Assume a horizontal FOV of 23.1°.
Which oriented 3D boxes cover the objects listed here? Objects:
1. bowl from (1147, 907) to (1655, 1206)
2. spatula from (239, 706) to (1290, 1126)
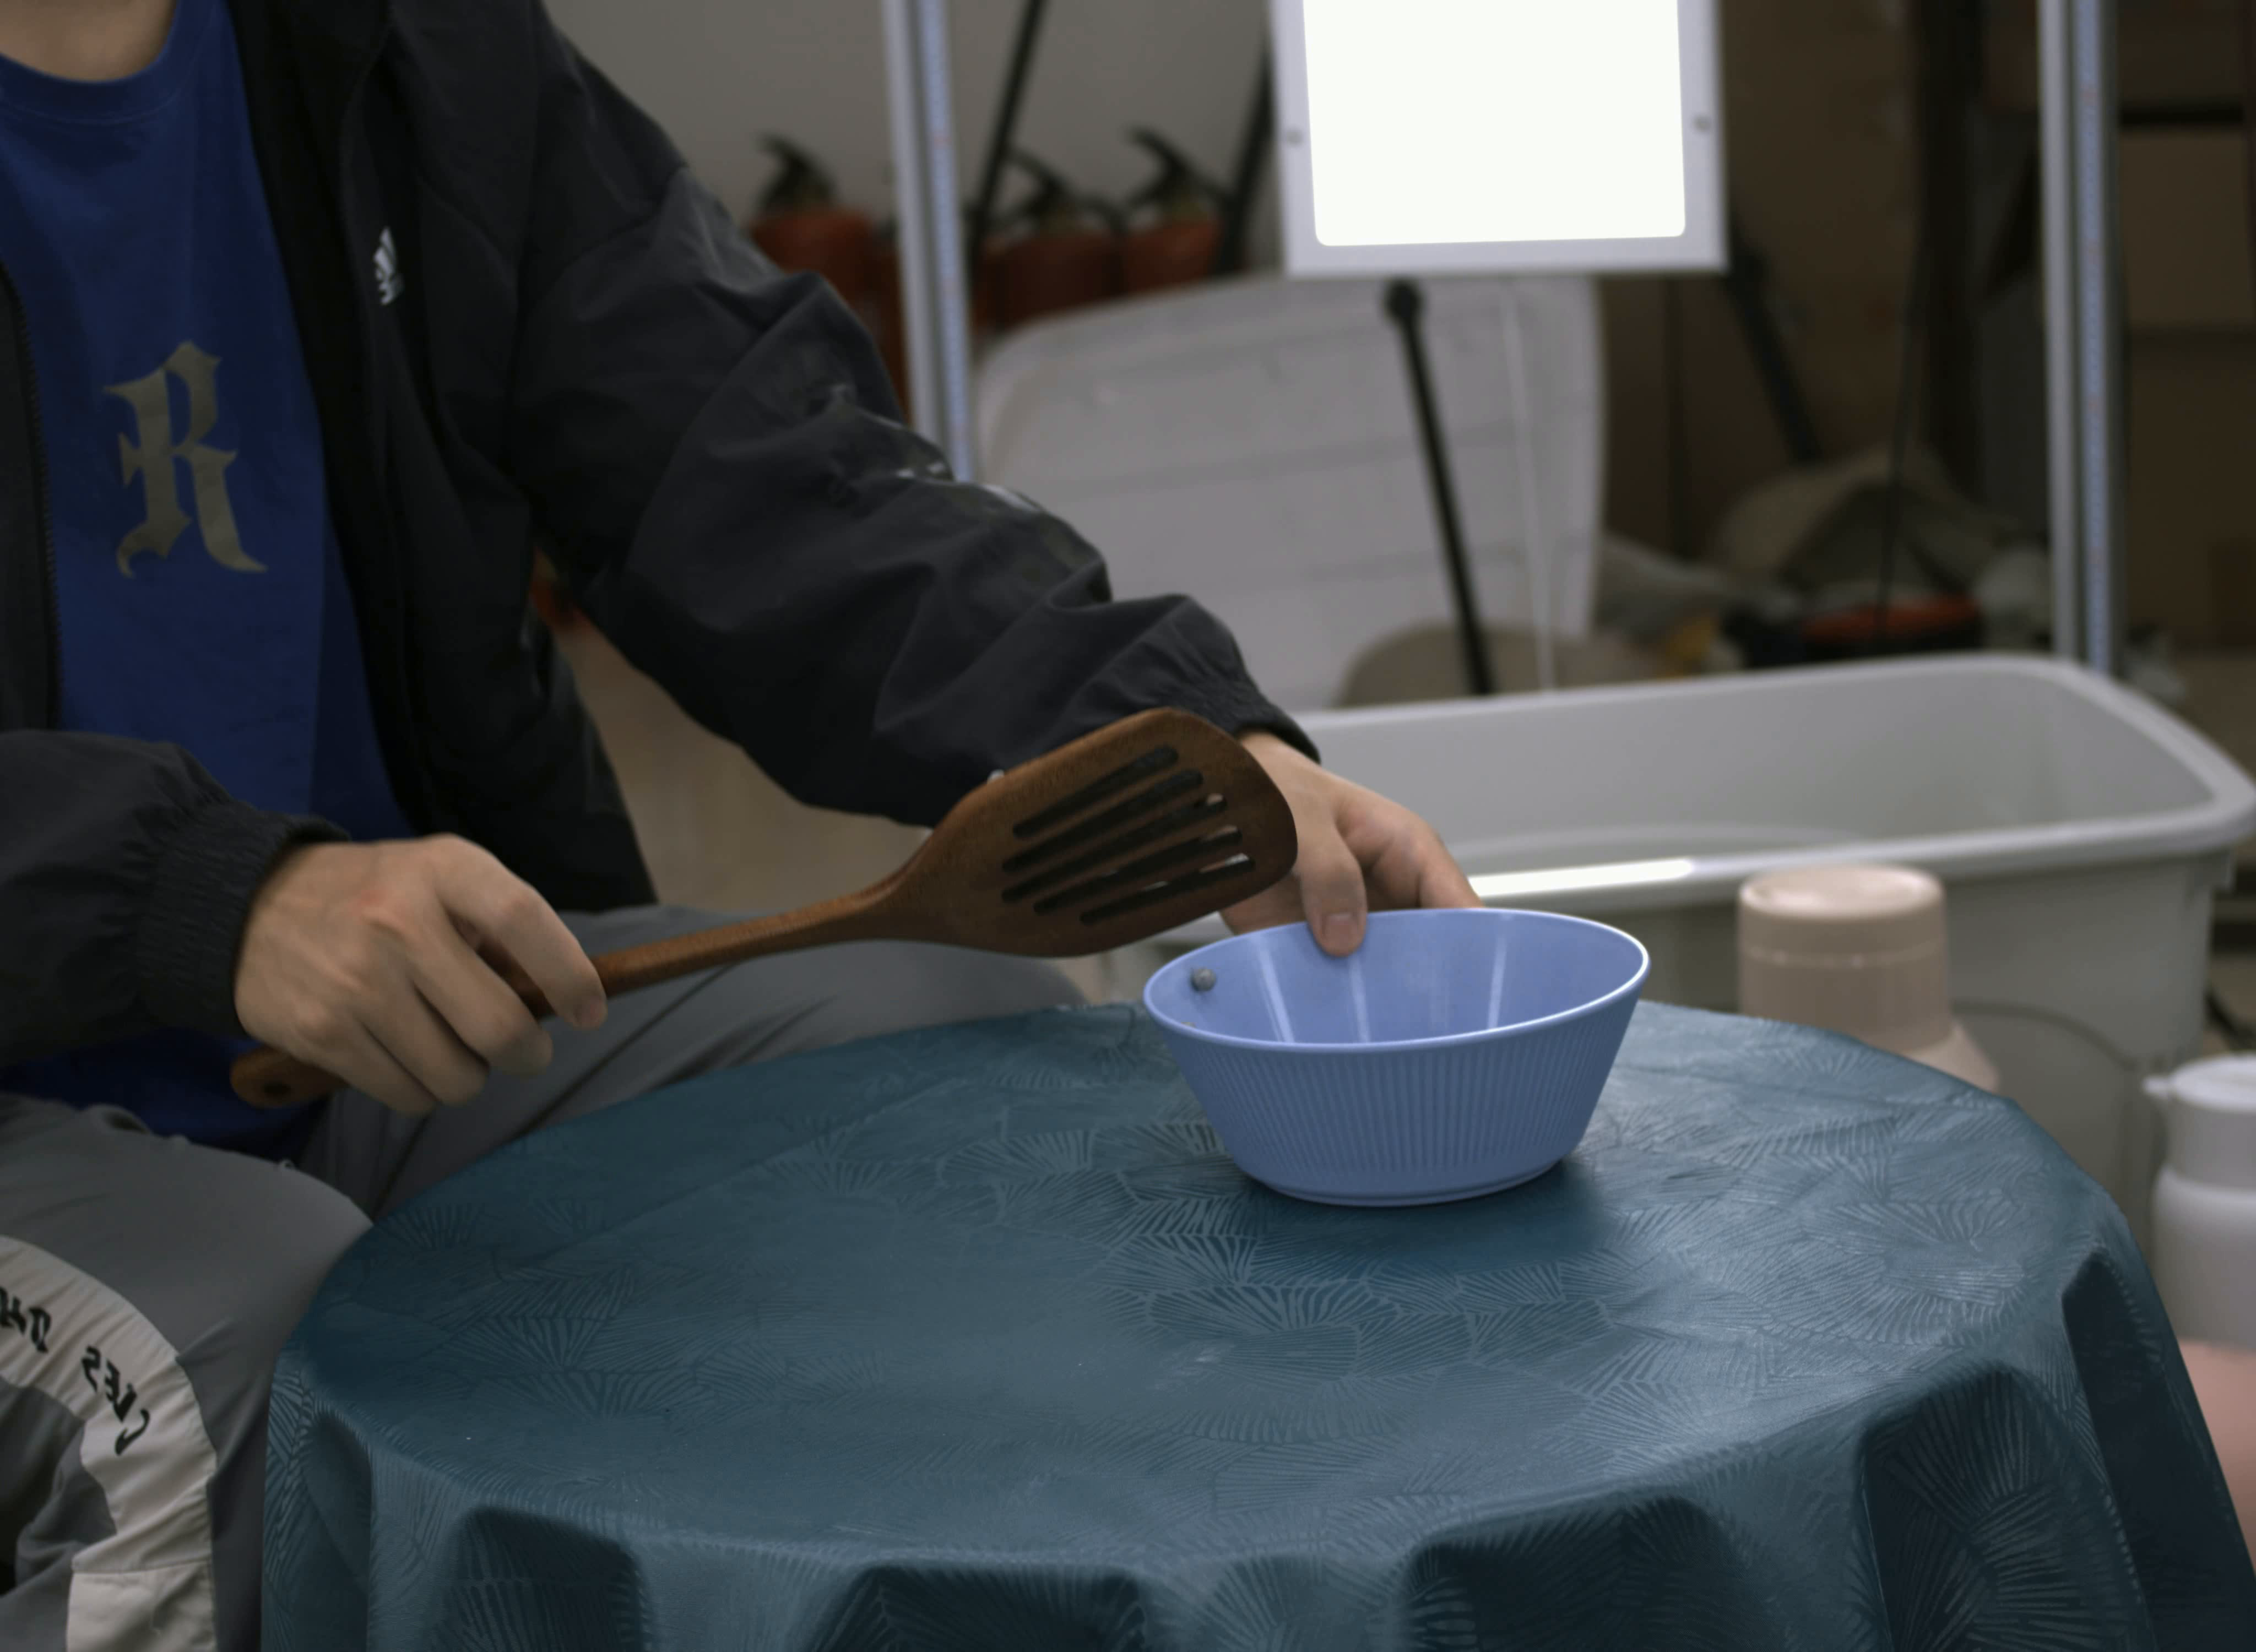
[{"bbox_3d":[0.097,0.082,1.894,0.175,0.070,0.176,-6,13,0],"label":"bowl"},{"bbox_3d":[-0.128,0.042,1.748,0.394,0.084,0.024,-17,42,28],"label":"spatula"}]
